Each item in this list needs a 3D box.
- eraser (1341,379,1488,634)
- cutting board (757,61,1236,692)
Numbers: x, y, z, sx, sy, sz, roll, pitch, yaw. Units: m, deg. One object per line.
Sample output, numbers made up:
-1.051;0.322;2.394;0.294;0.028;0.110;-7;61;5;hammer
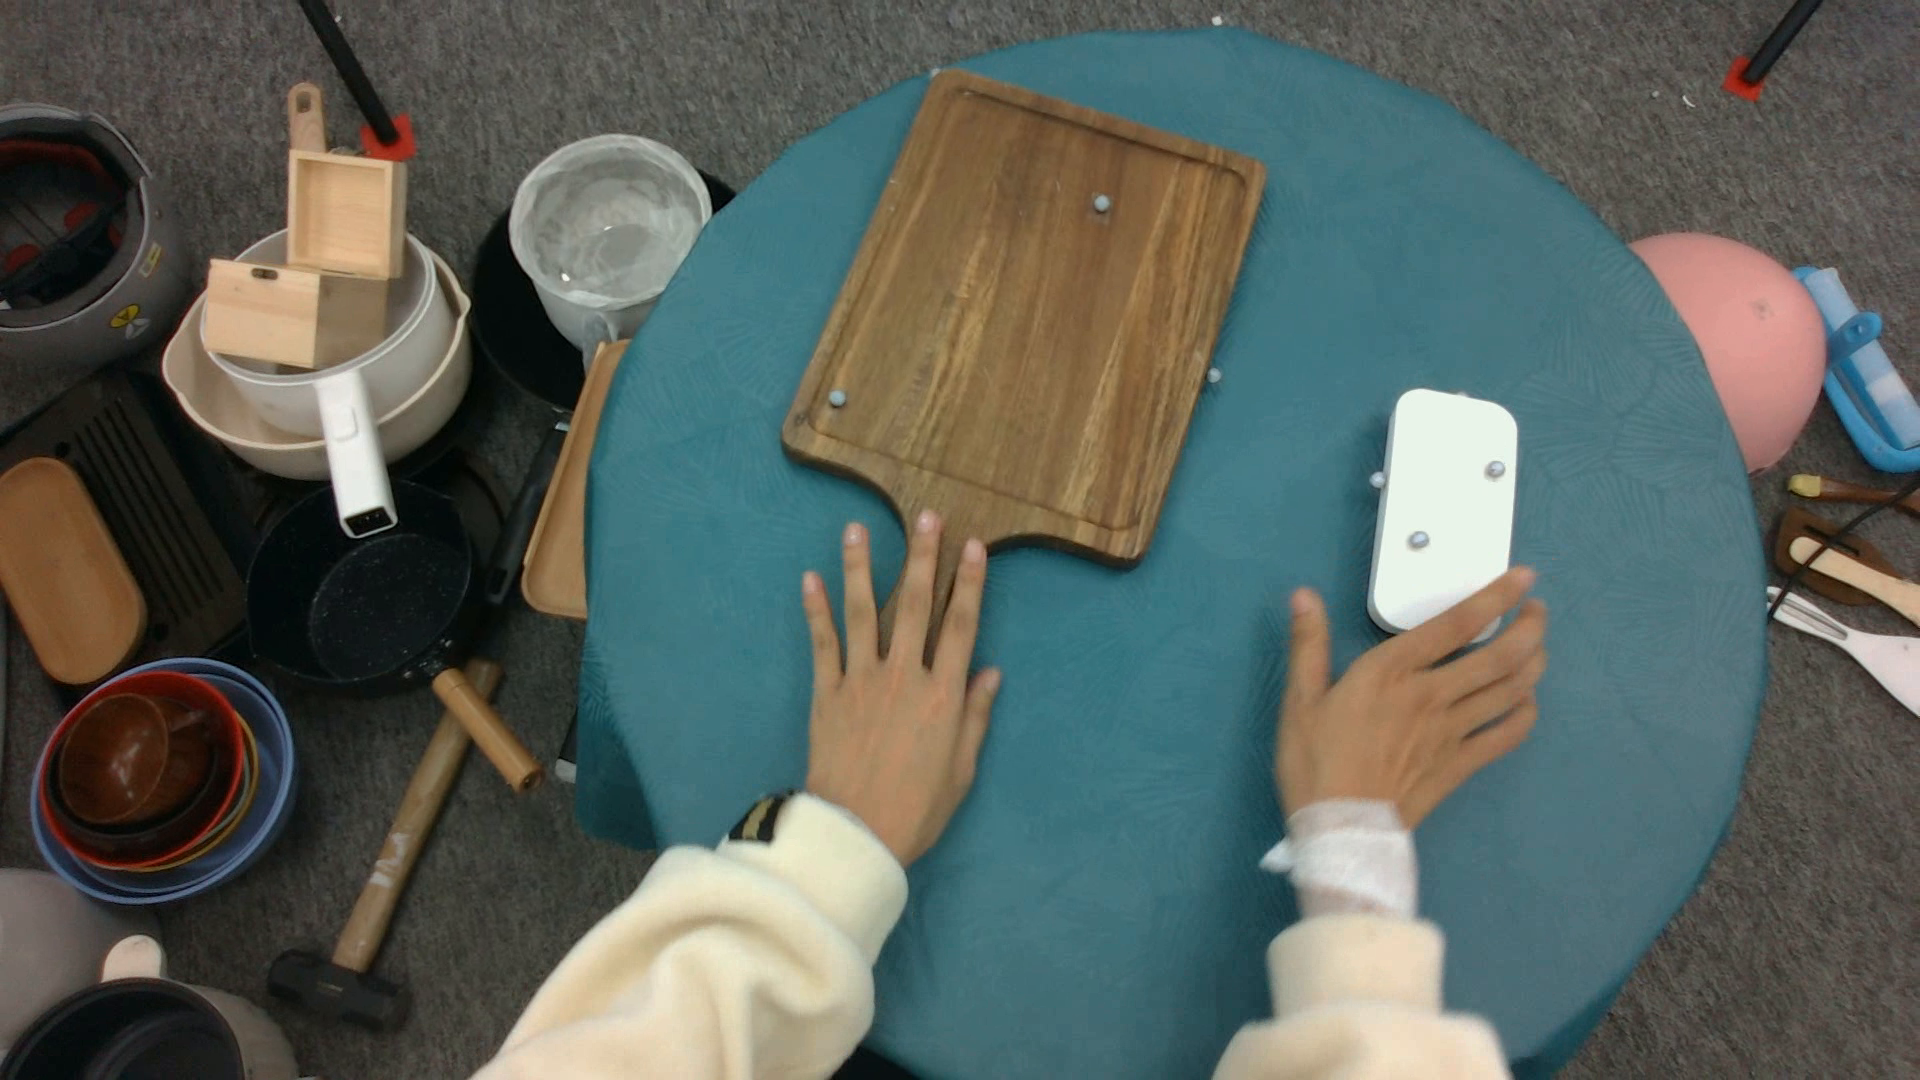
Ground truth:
0.228;-0.019;0.694;0.063;0.034;0.132;13;69;1;eraser
0.010;-0.088;0.714;0.201;0.023;0.353;17;69;4;cutting board
